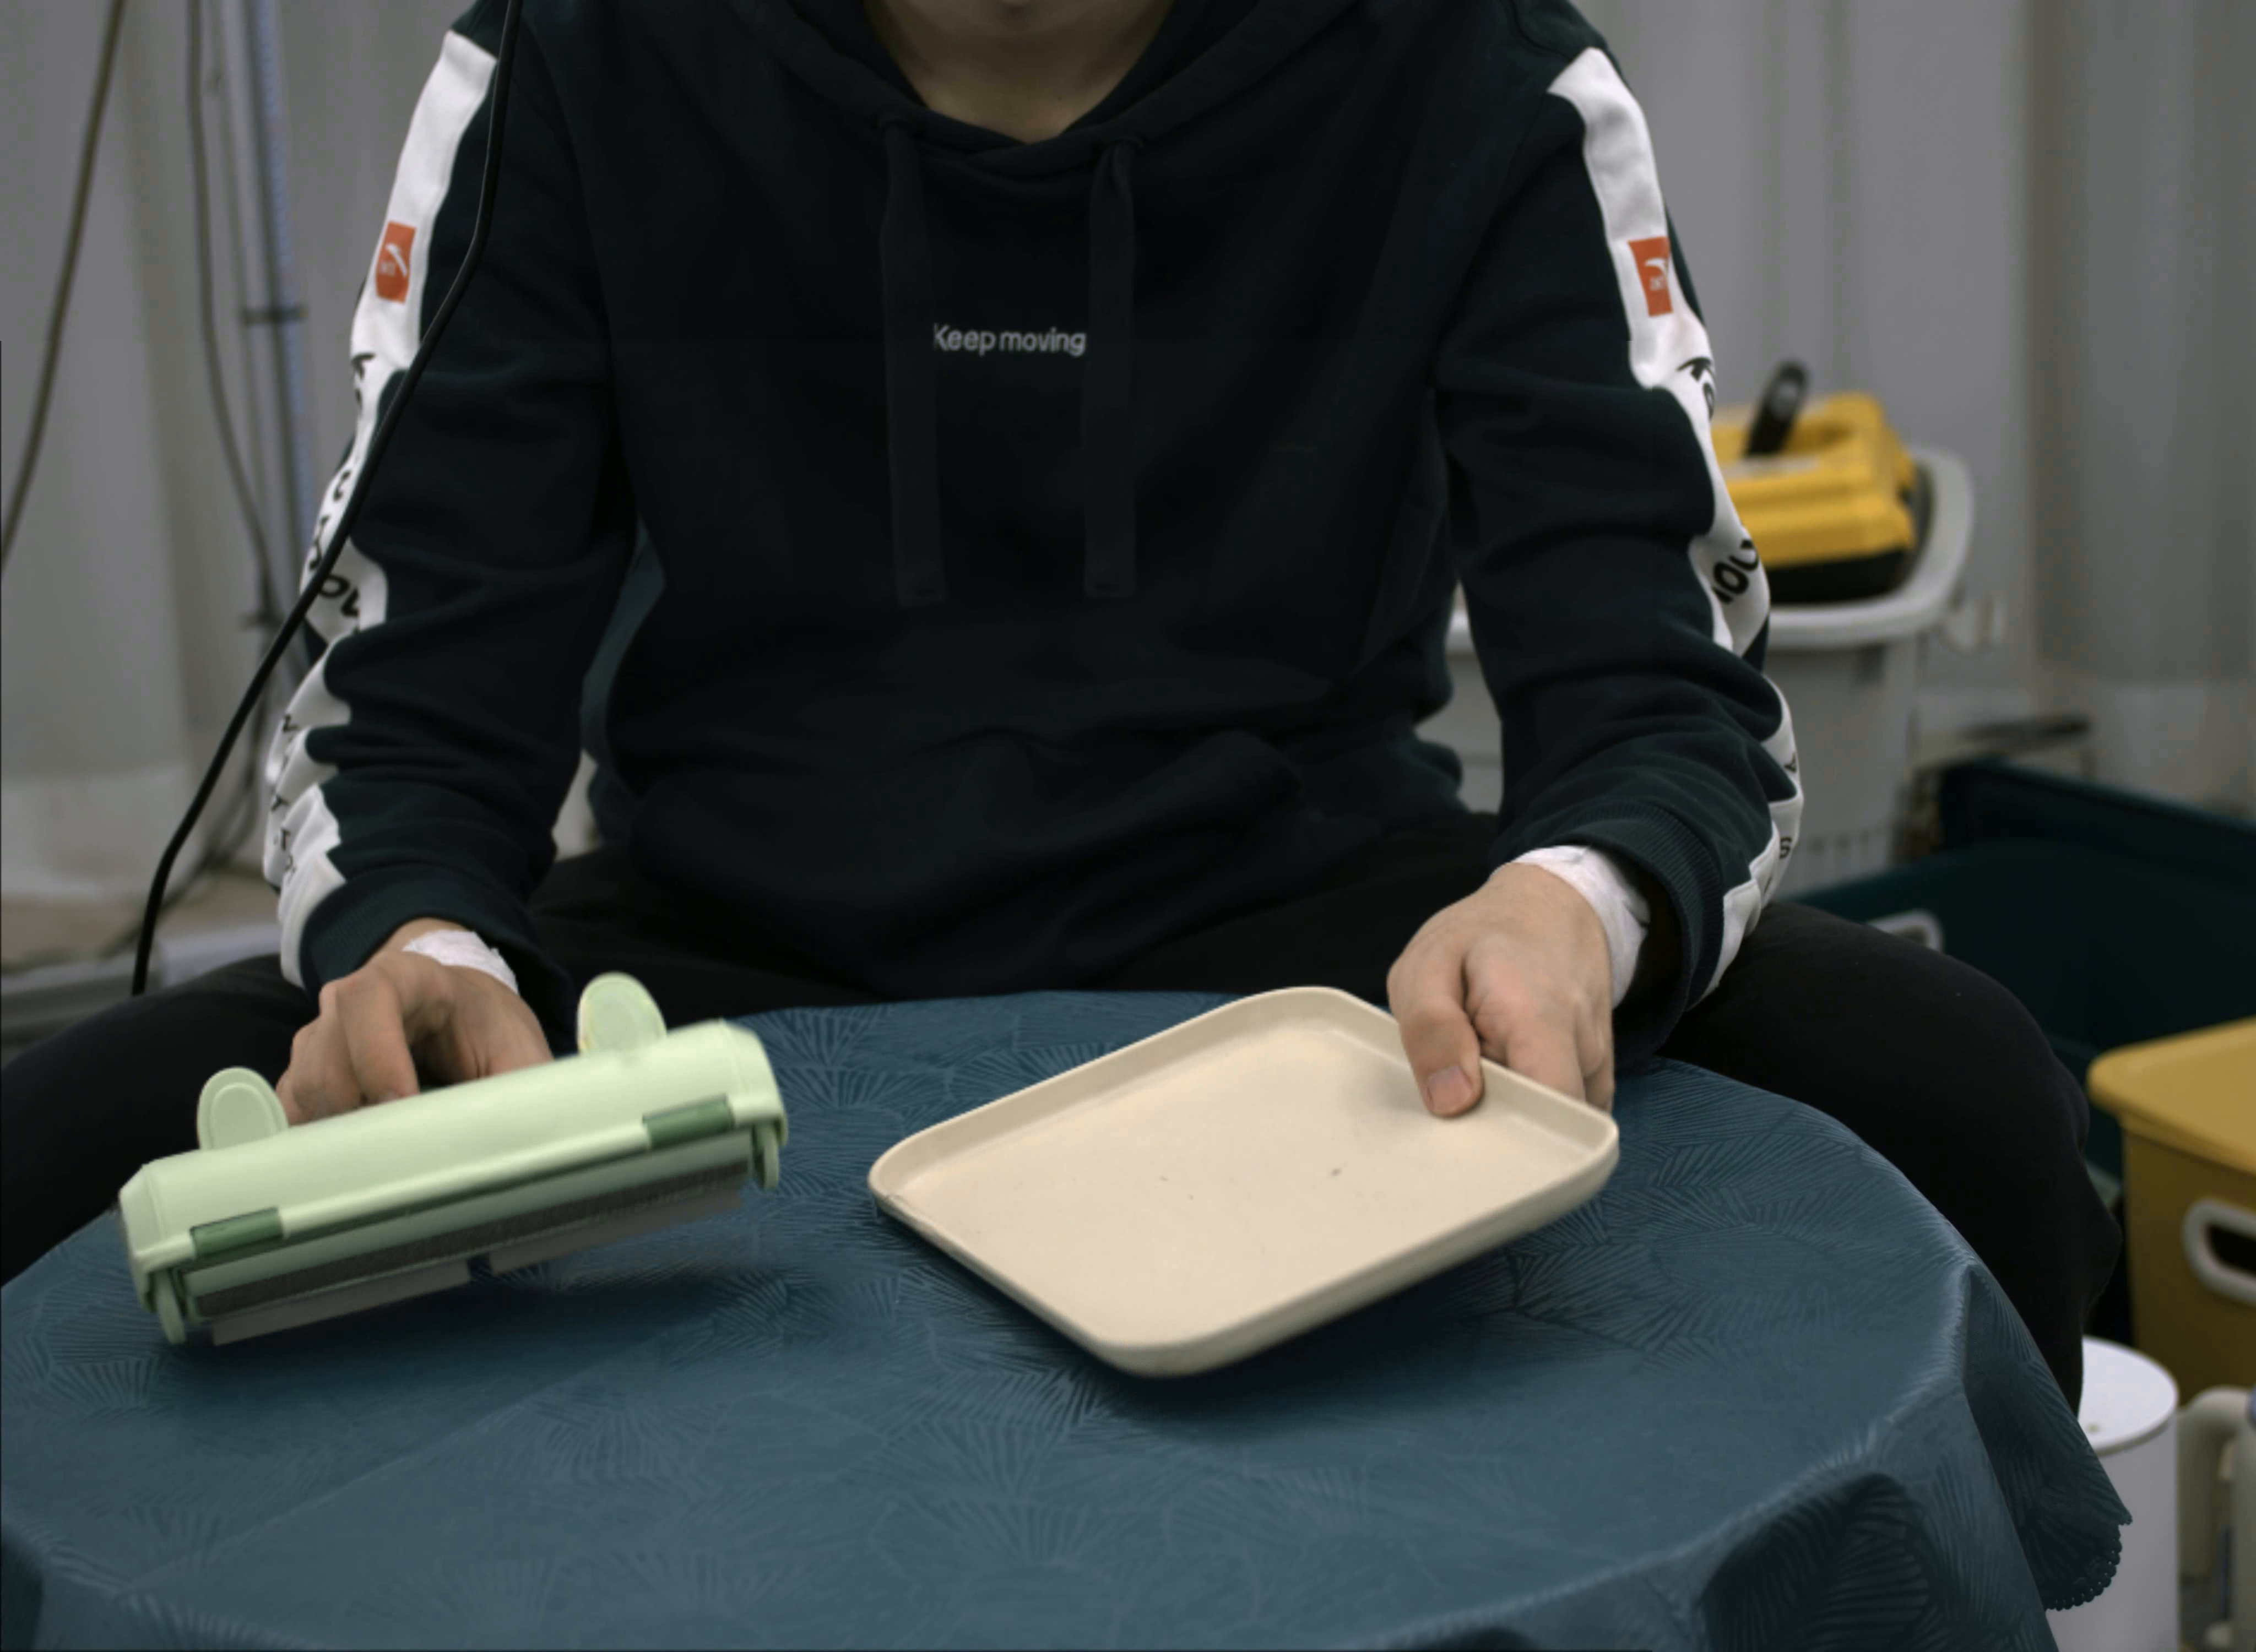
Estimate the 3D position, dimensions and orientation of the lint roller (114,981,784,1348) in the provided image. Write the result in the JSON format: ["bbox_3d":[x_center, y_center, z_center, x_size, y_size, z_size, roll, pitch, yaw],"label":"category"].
[{"bbox_3d":[-0.216,0.088,1.678,0.198,0.082,0.185,-13,17,-12],"label":"lint roller"}]

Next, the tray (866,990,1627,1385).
[{"bbox_3d":[0.033,0.107,1.637,0.171,0.017,0.241,-21,18,-19],"label":"tray"}]
